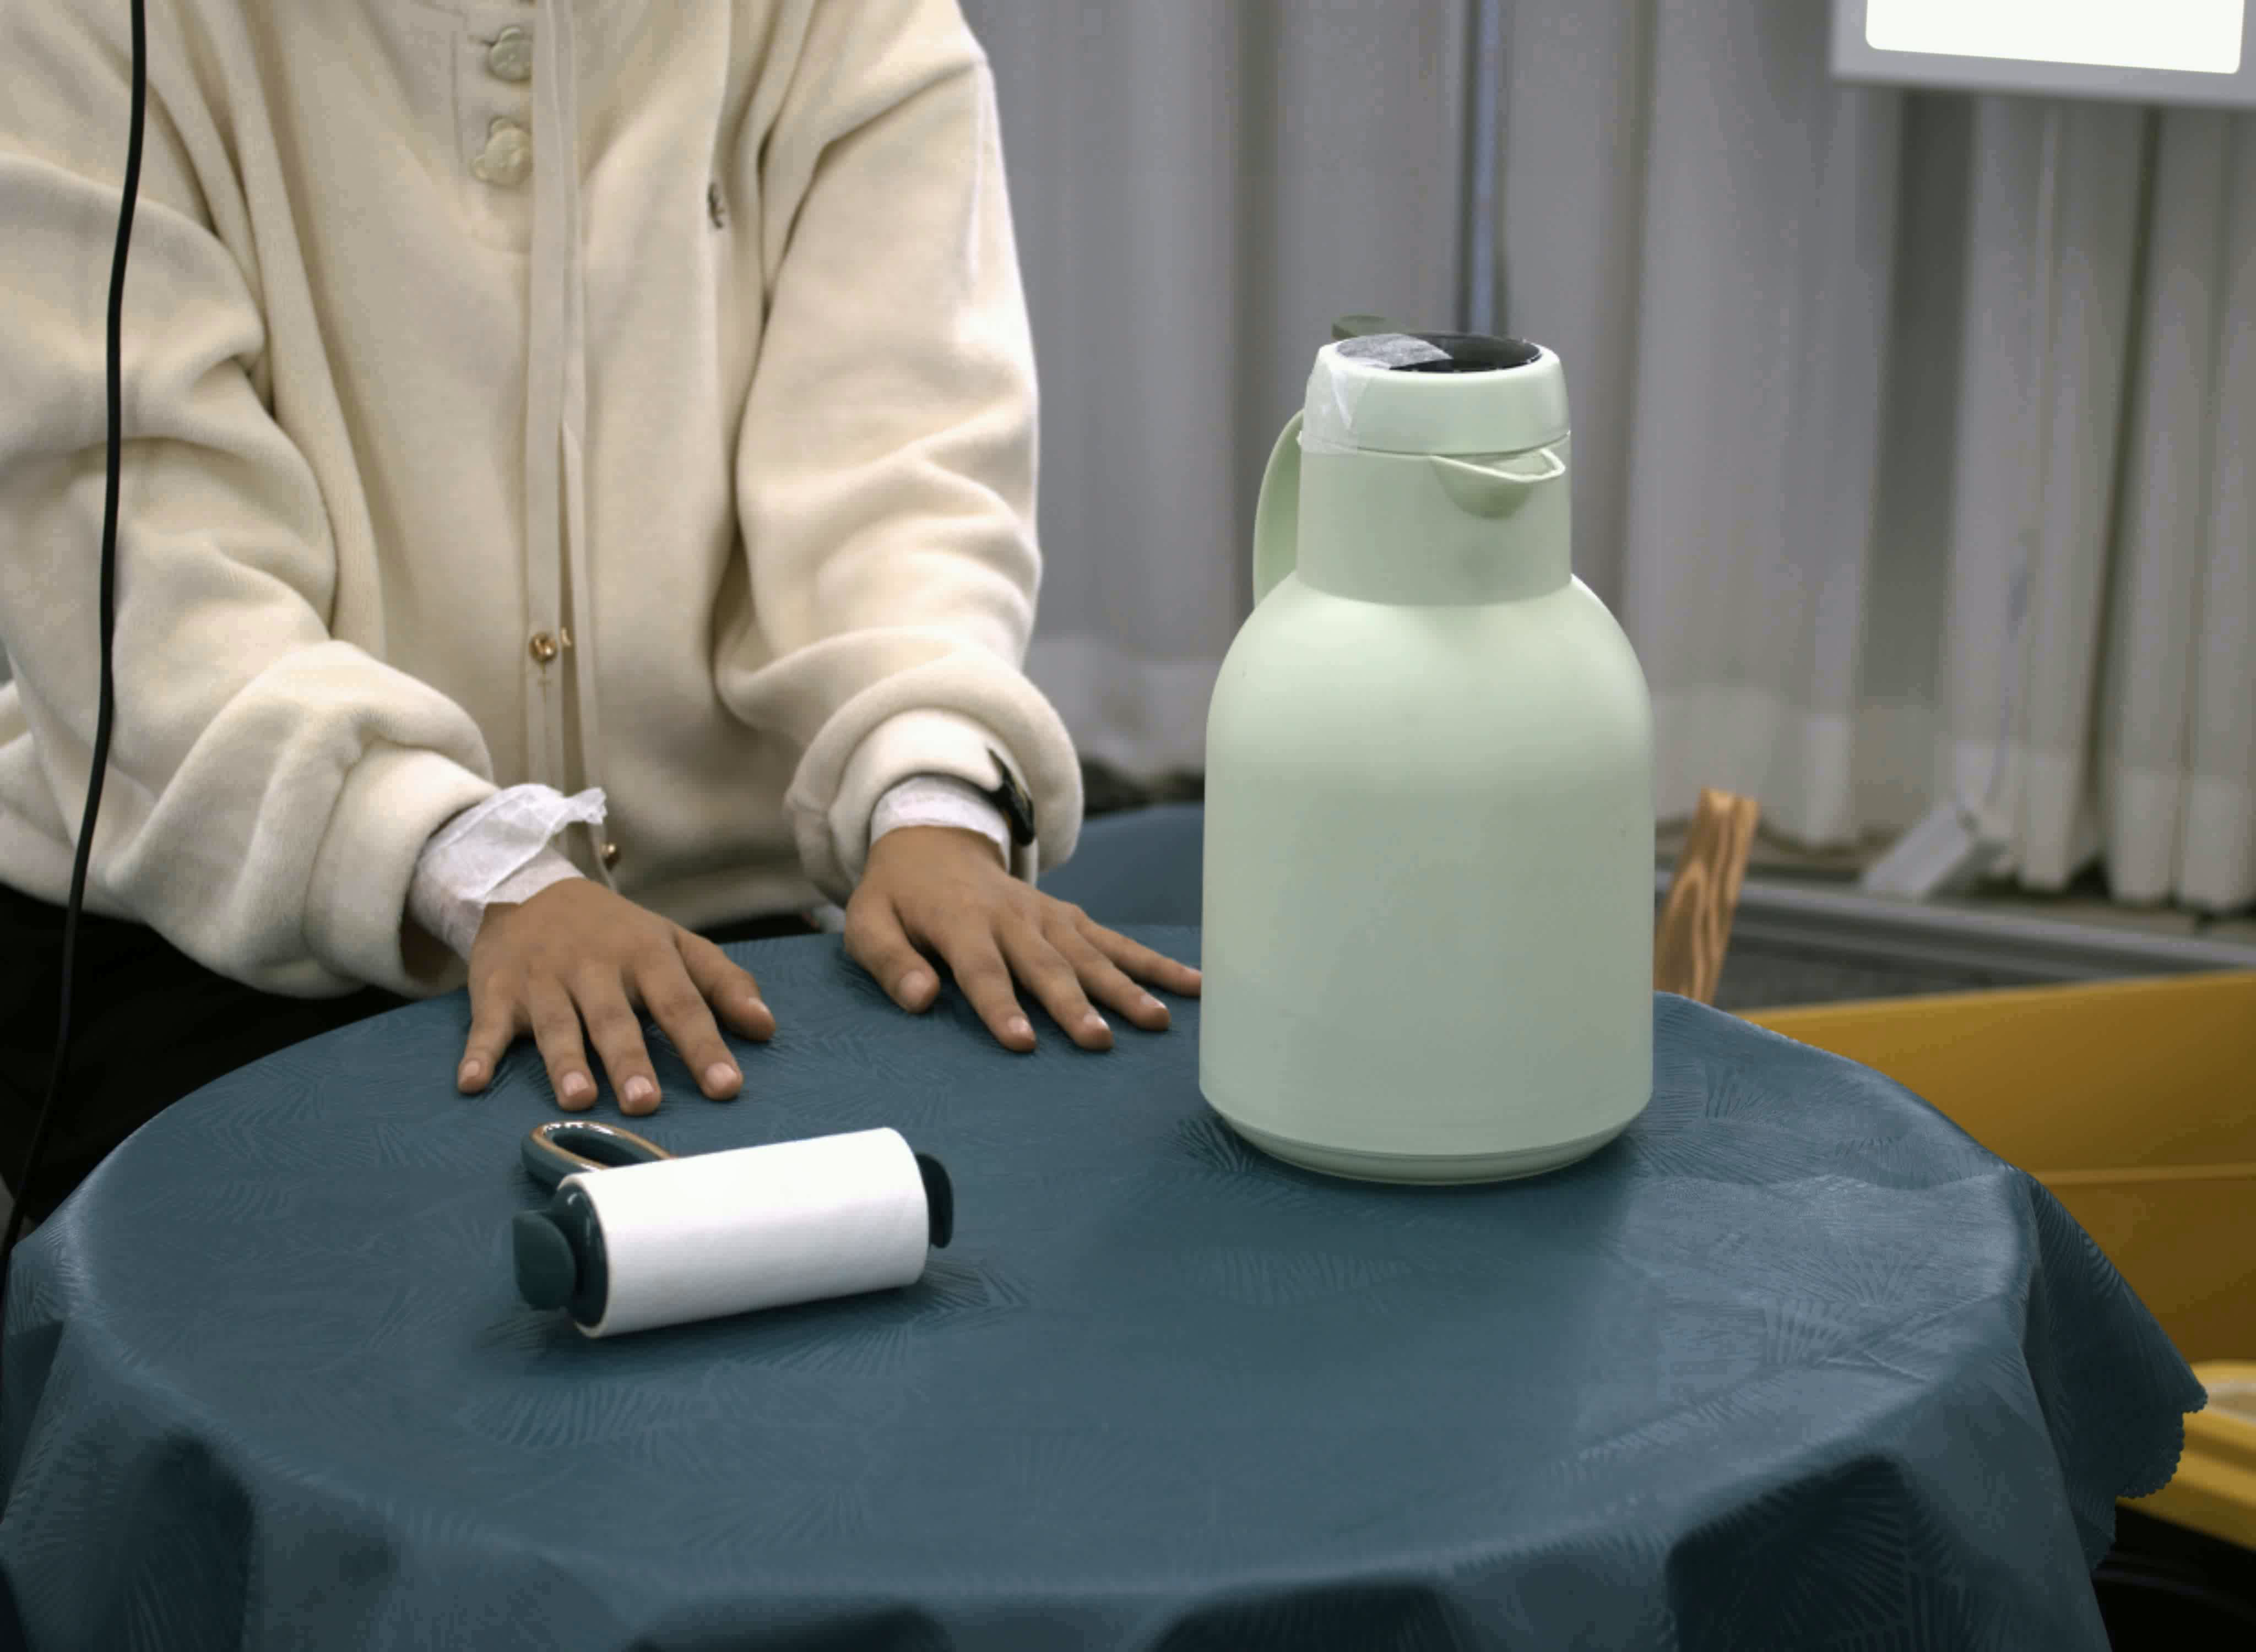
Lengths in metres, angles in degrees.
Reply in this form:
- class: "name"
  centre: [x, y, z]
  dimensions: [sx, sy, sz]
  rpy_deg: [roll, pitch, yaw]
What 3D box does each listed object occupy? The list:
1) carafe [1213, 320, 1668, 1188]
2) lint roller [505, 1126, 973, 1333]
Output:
- class: "carafe"
  centre: [0.091, -0.028, 1.662]
  dimensions: [0.144, 0.259, 0.185]
  rpy_deg: [-8, 14, -21]
- class: "lint roller"
  centre: [-0.141, 0.100, 1.570]
  dimensions: [0.135, 0.049, 0.178]
  rpy_deg: [-7, 17, -26]
